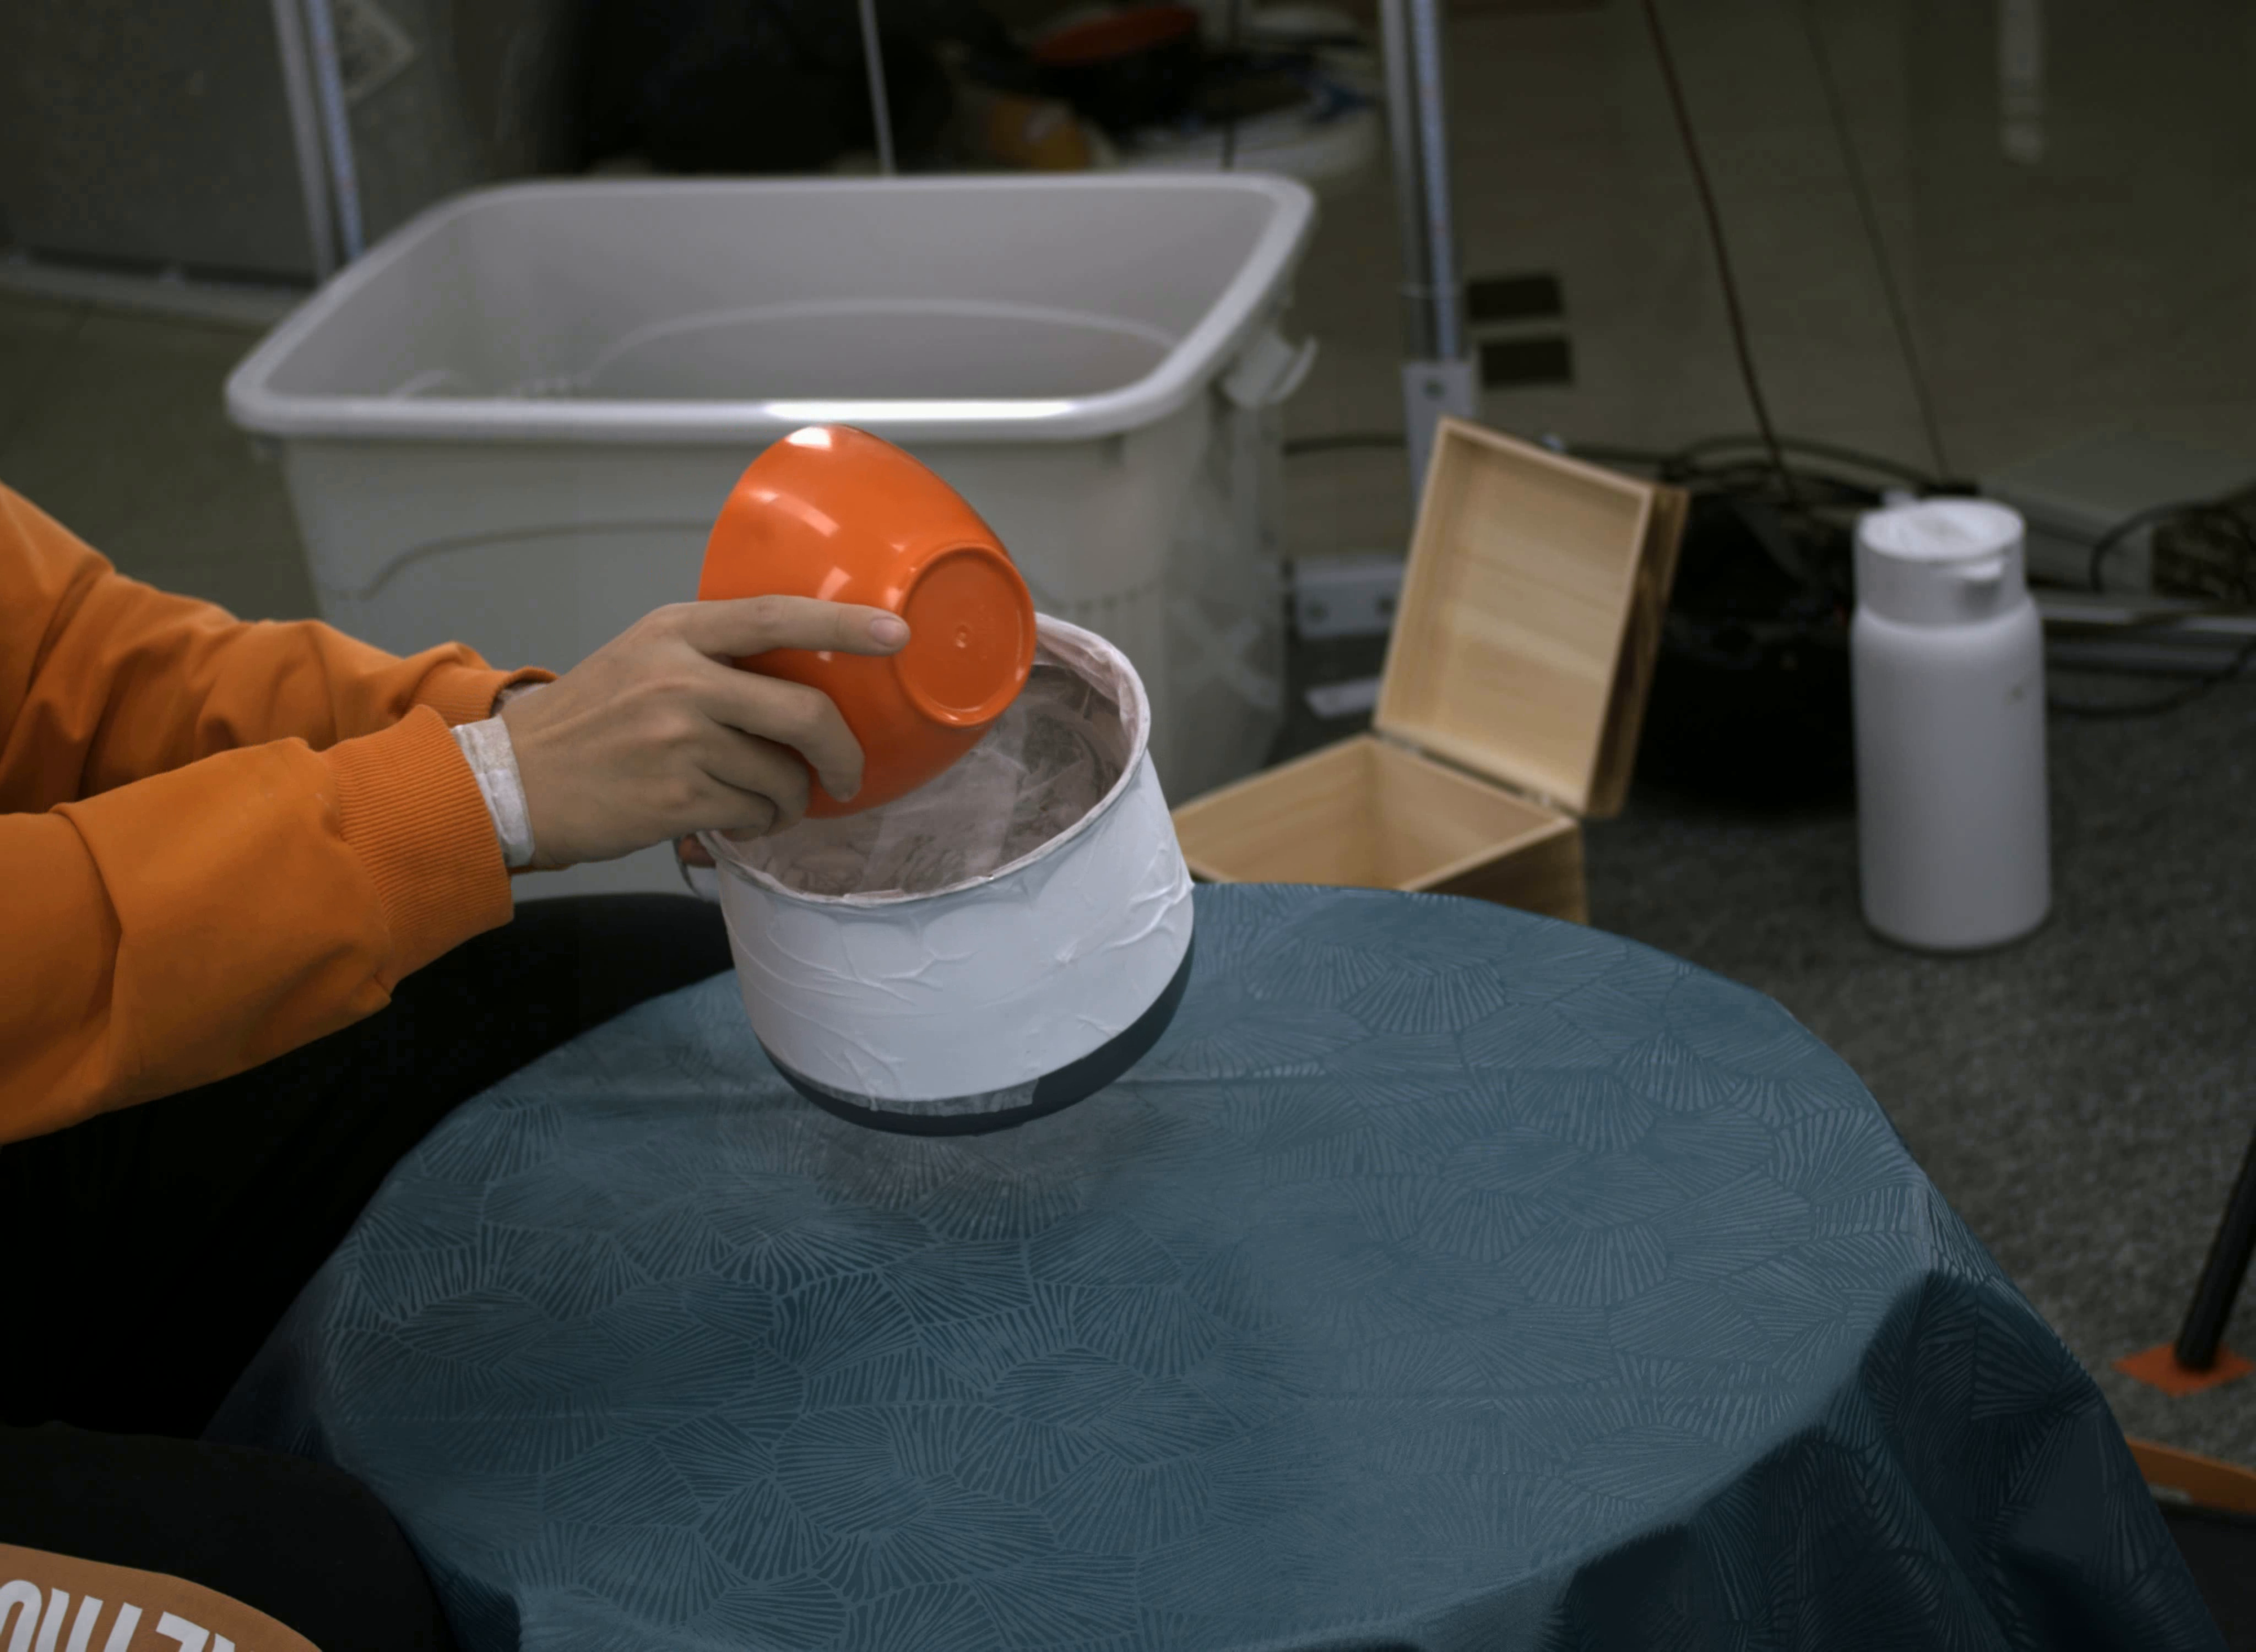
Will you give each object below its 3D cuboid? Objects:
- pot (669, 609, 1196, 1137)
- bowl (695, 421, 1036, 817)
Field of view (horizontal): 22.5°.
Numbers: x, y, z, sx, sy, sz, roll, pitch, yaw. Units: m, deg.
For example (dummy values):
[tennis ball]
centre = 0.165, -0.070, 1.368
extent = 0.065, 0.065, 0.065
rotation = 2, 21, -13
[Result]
[pot]
centre = -0.089, 0.013, 2.159
extent = 0.232, 0.139, 0.176
rotation = 20, 48, 34
[bowl]
centre = -0.083, -0.074, 2.073
extent = 0.147, 0.150, 0.104
rotation = -28, 23, -38
